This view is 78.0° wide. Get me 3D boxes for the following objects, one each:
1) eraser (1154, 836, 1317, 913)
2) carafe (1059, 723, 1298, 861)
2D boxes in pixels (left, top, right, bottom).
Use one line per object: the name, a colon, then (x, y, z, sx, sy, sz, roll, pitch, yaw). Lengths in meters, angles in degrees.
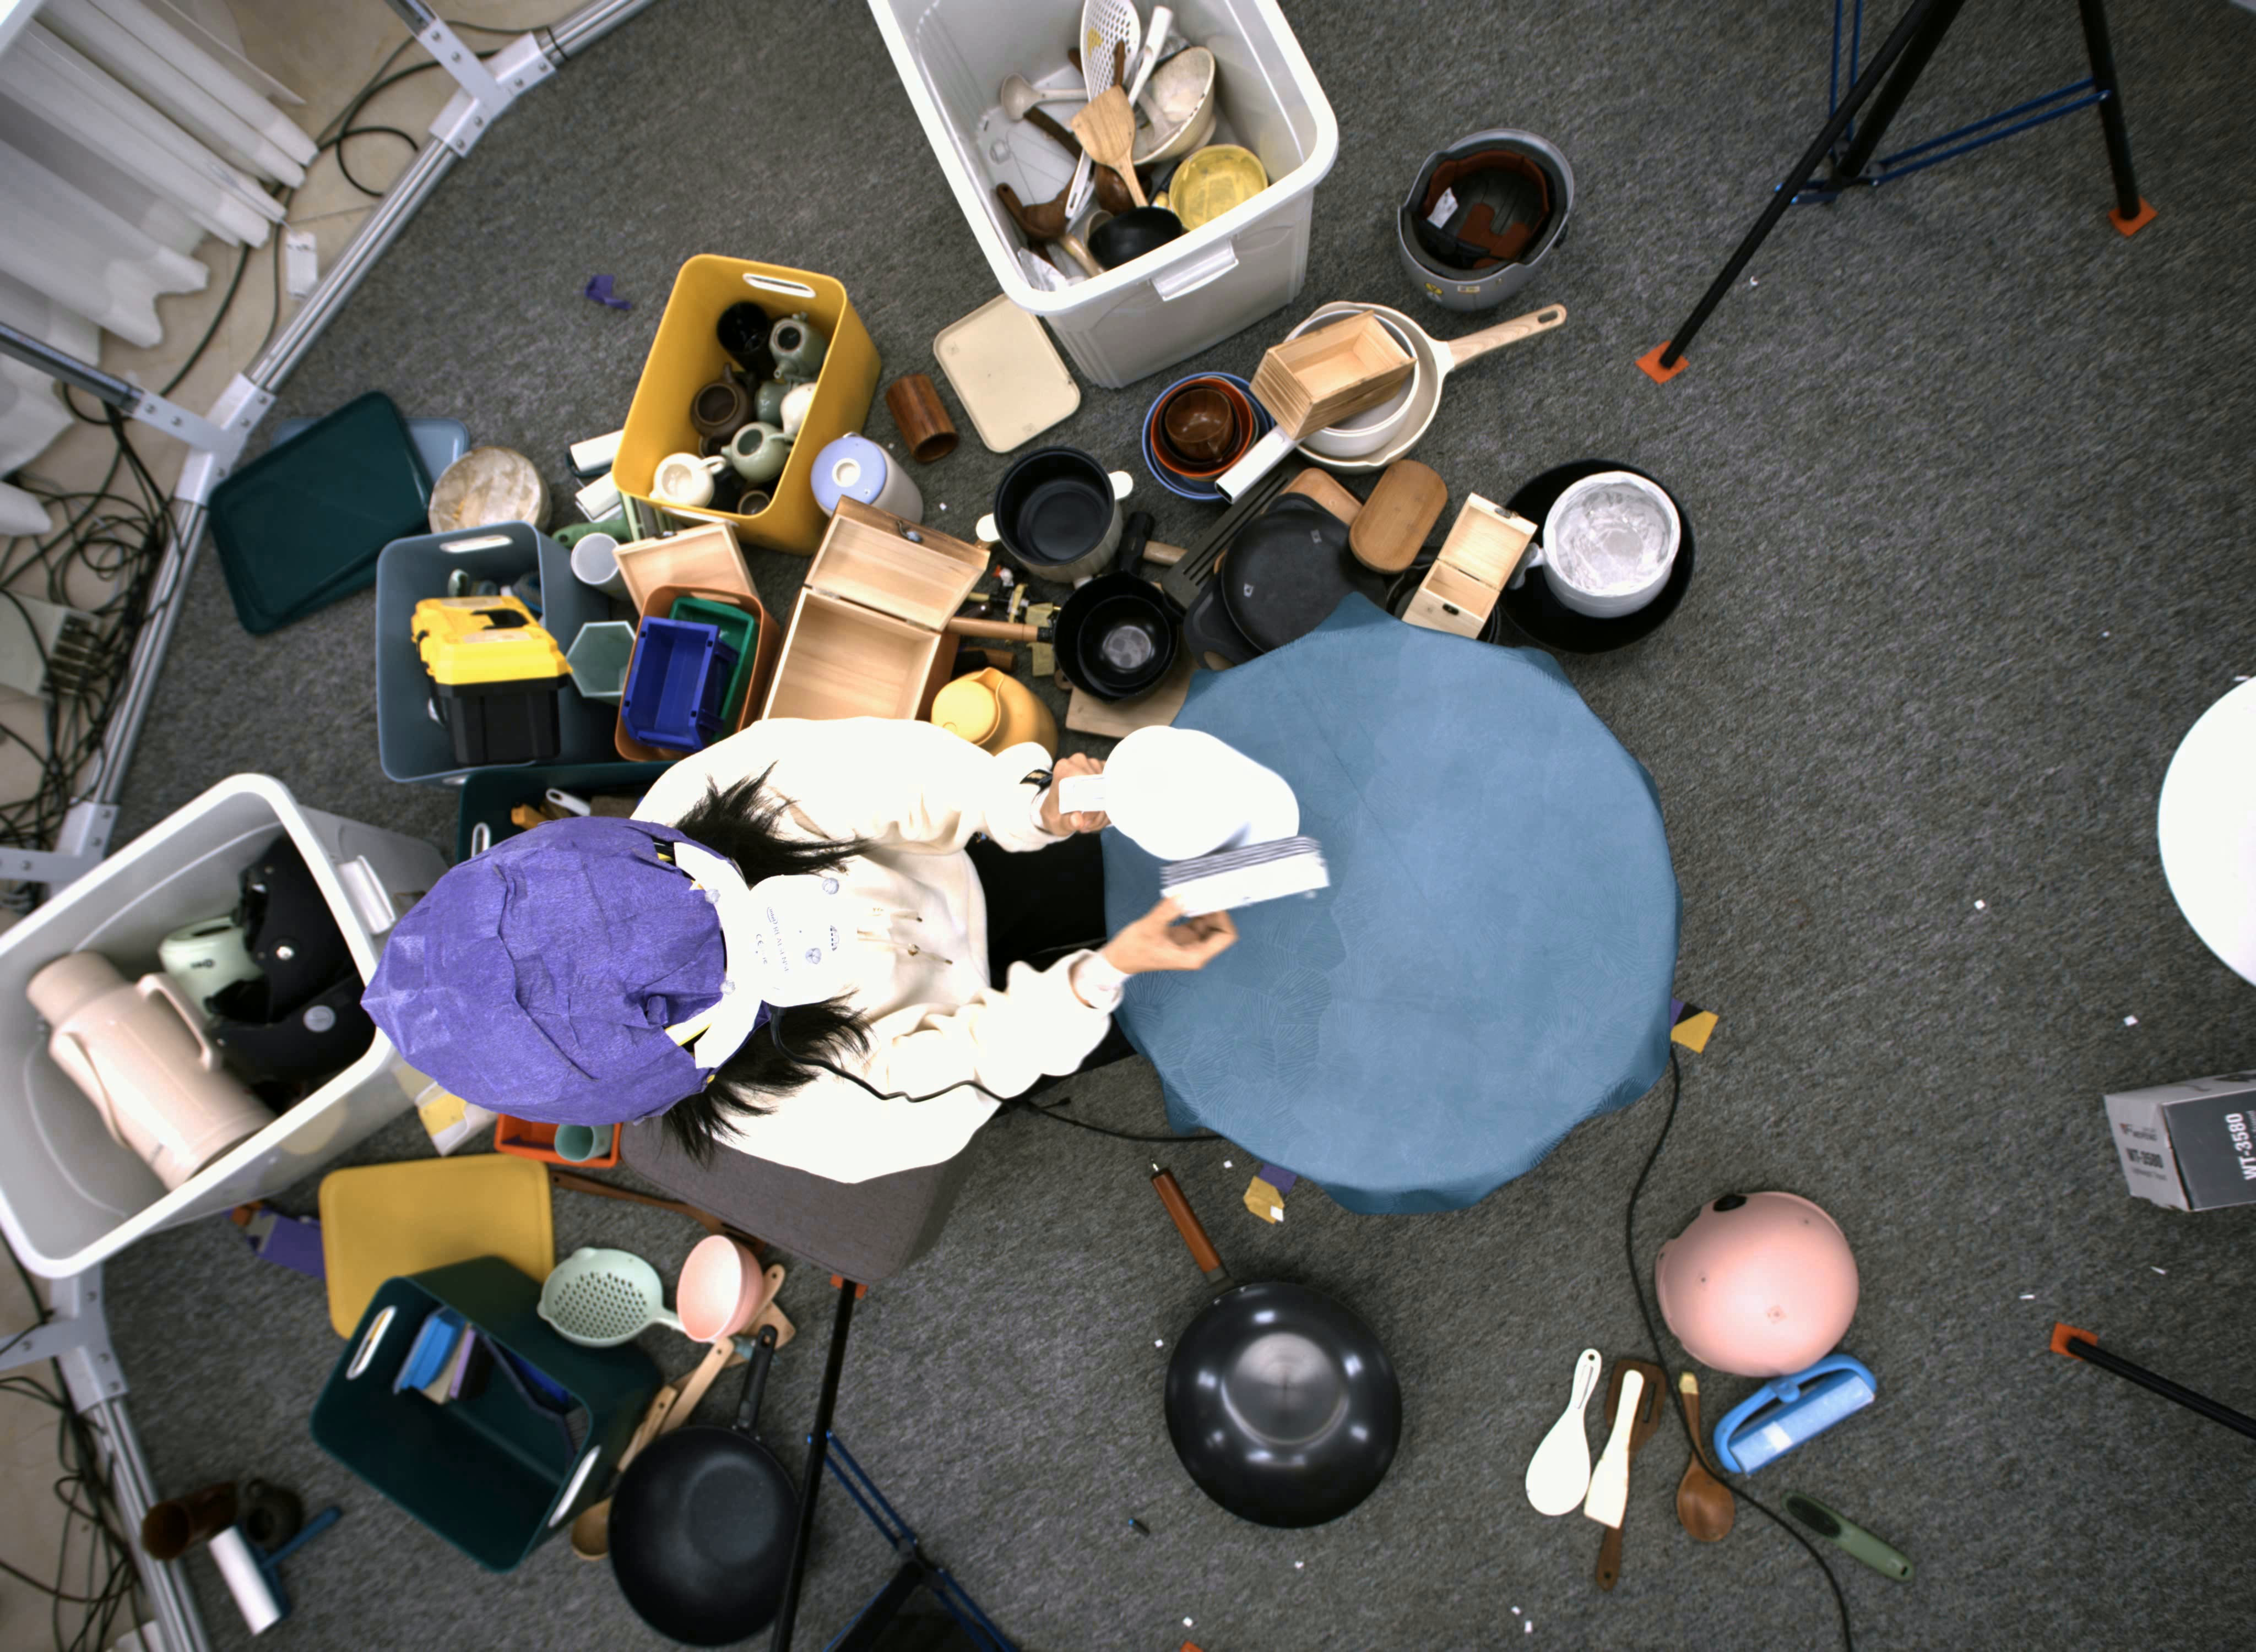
eraser: (0.092, 0.044, 1.210, 0.136, 0.049, 0.046, -15, 82, 27)
carafe: (0.054, -0.021, 1.285, 0.174, 0.268, 0.123, -4, 85, 21)
